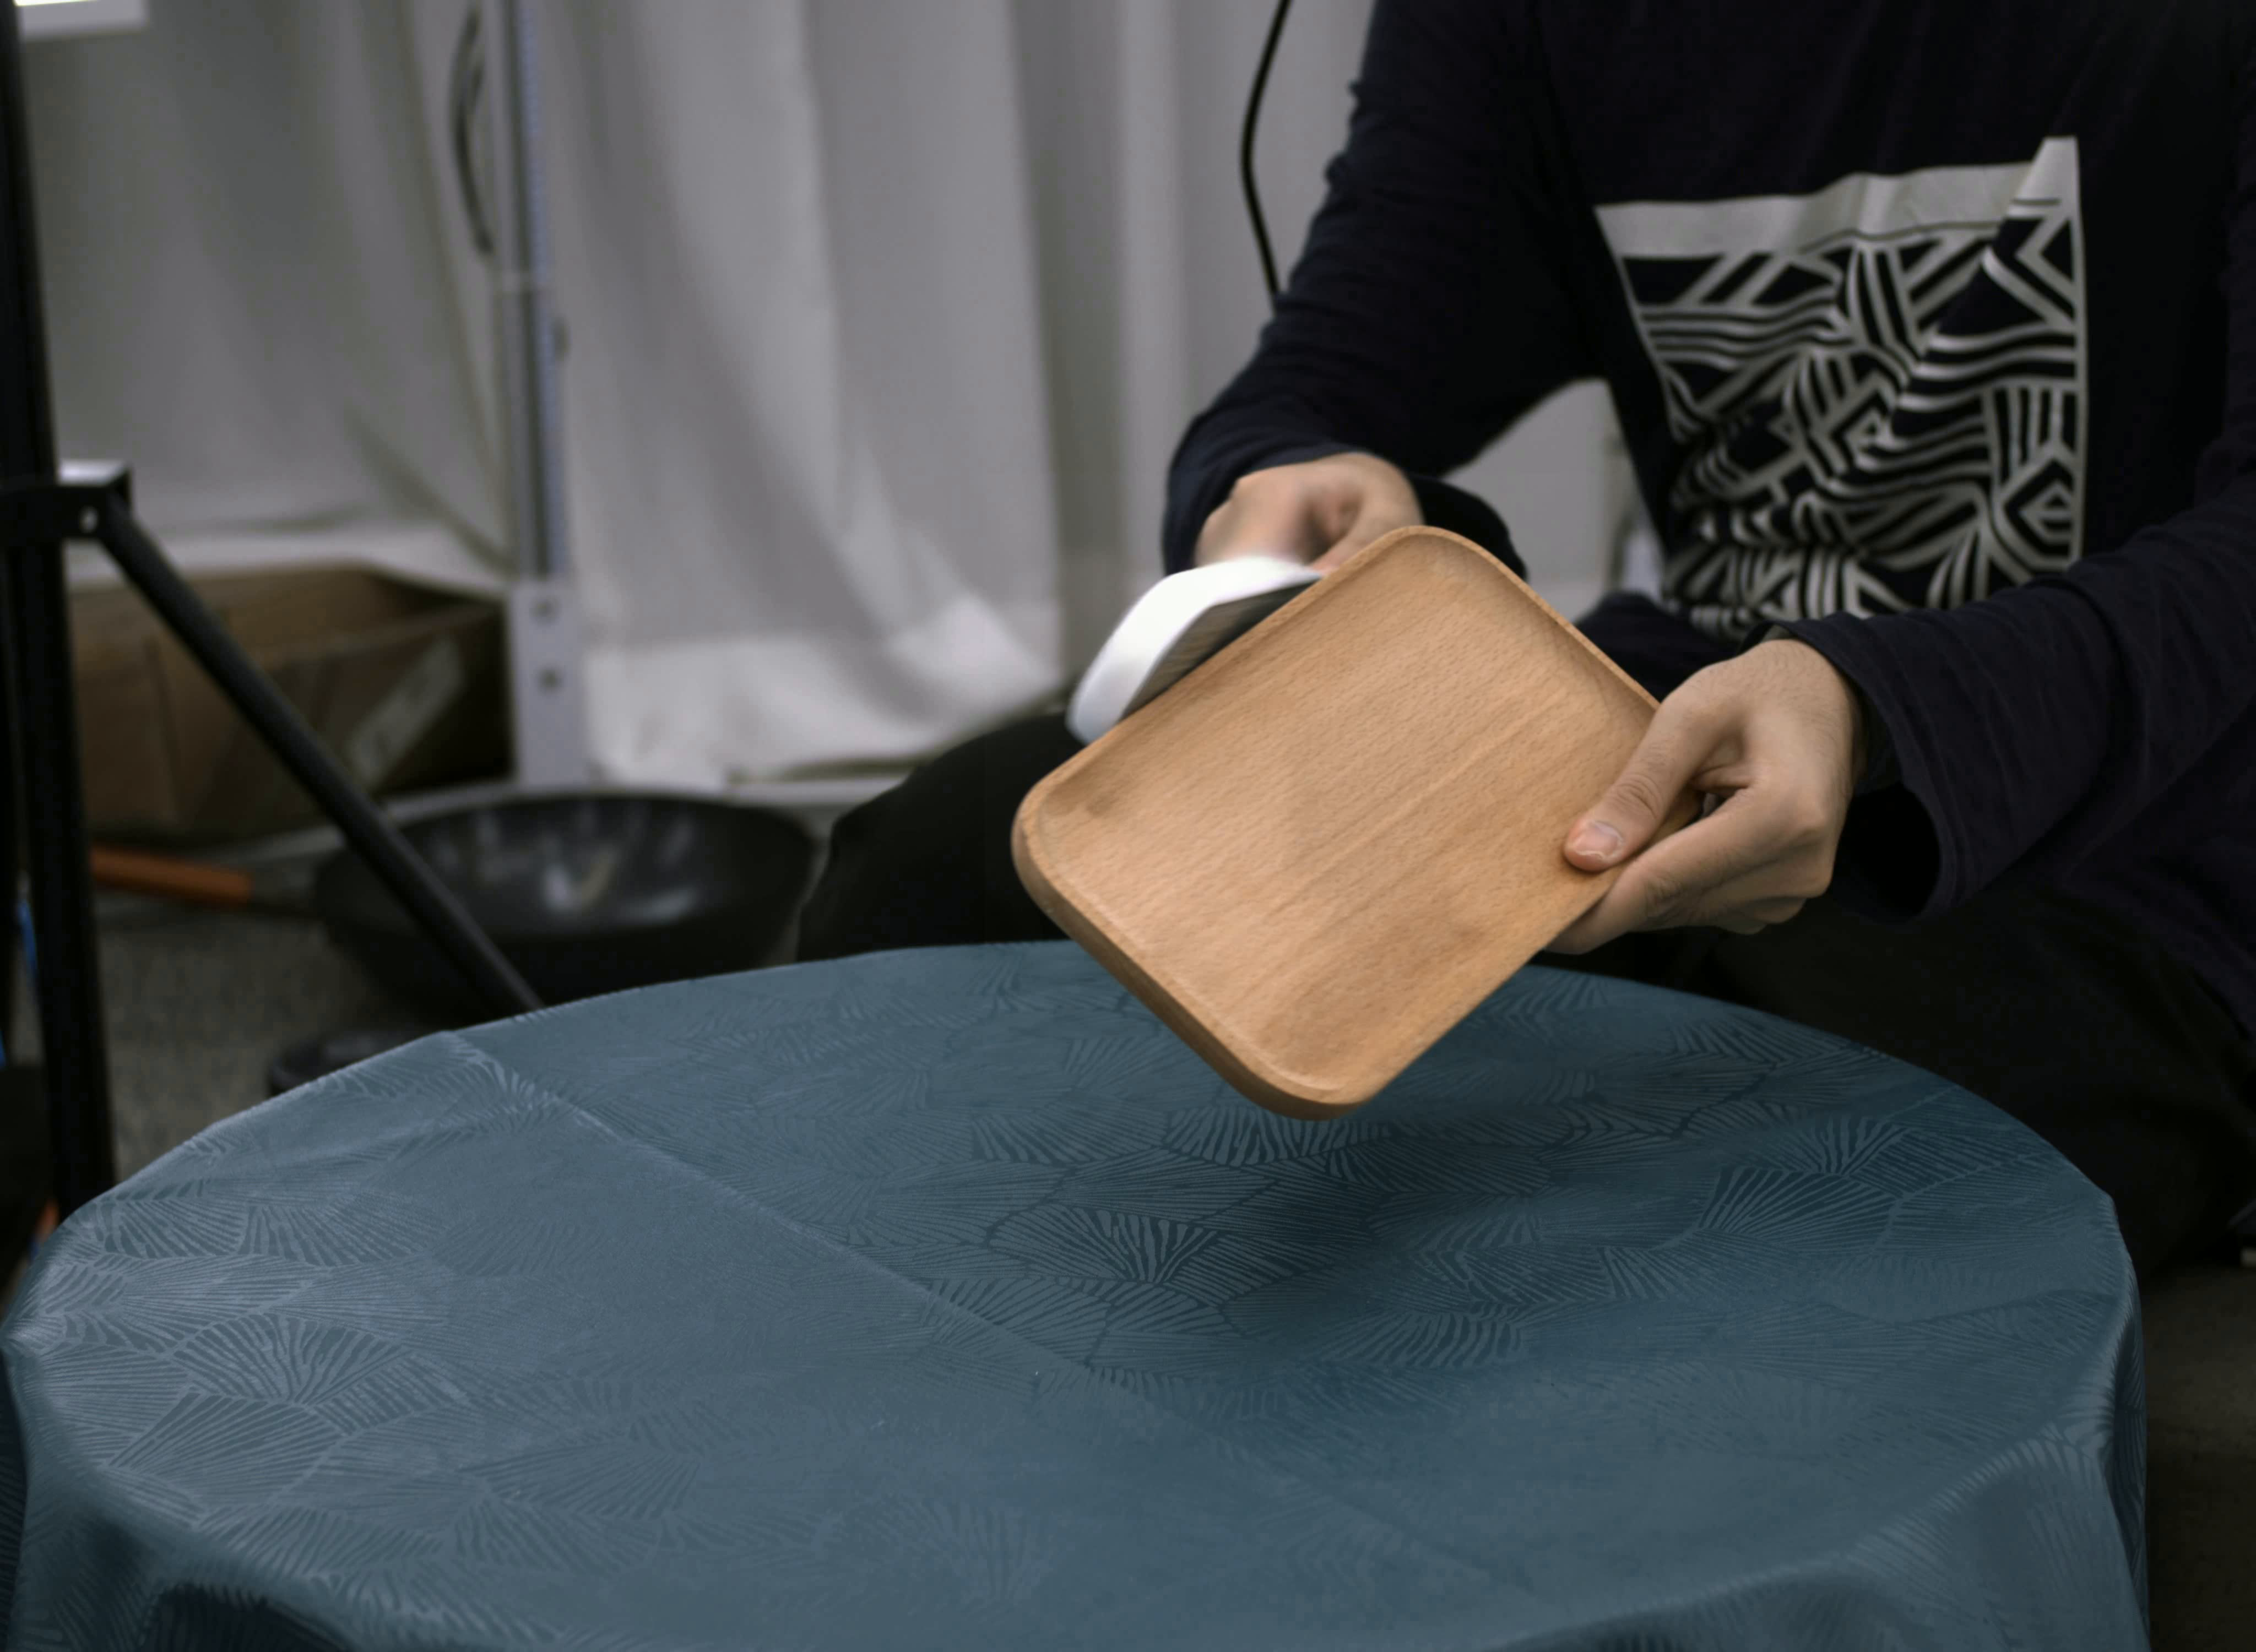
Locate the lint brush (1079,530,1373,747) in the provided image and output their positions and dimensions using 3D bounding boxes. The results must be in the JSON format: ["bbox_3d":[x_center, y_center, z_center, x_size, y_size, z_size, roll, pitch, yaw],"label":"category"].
[{"bbox_3d":[0.040,-0.063,1.641,0.021,0.060,0.305,31,13,10],"label":"lint brush"}]

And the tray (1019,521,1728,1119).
[{"bbox_3d":[0.073,-0.005,1.520,0.131,0.023,0.246,46,41,10],"label":"tray"}]
